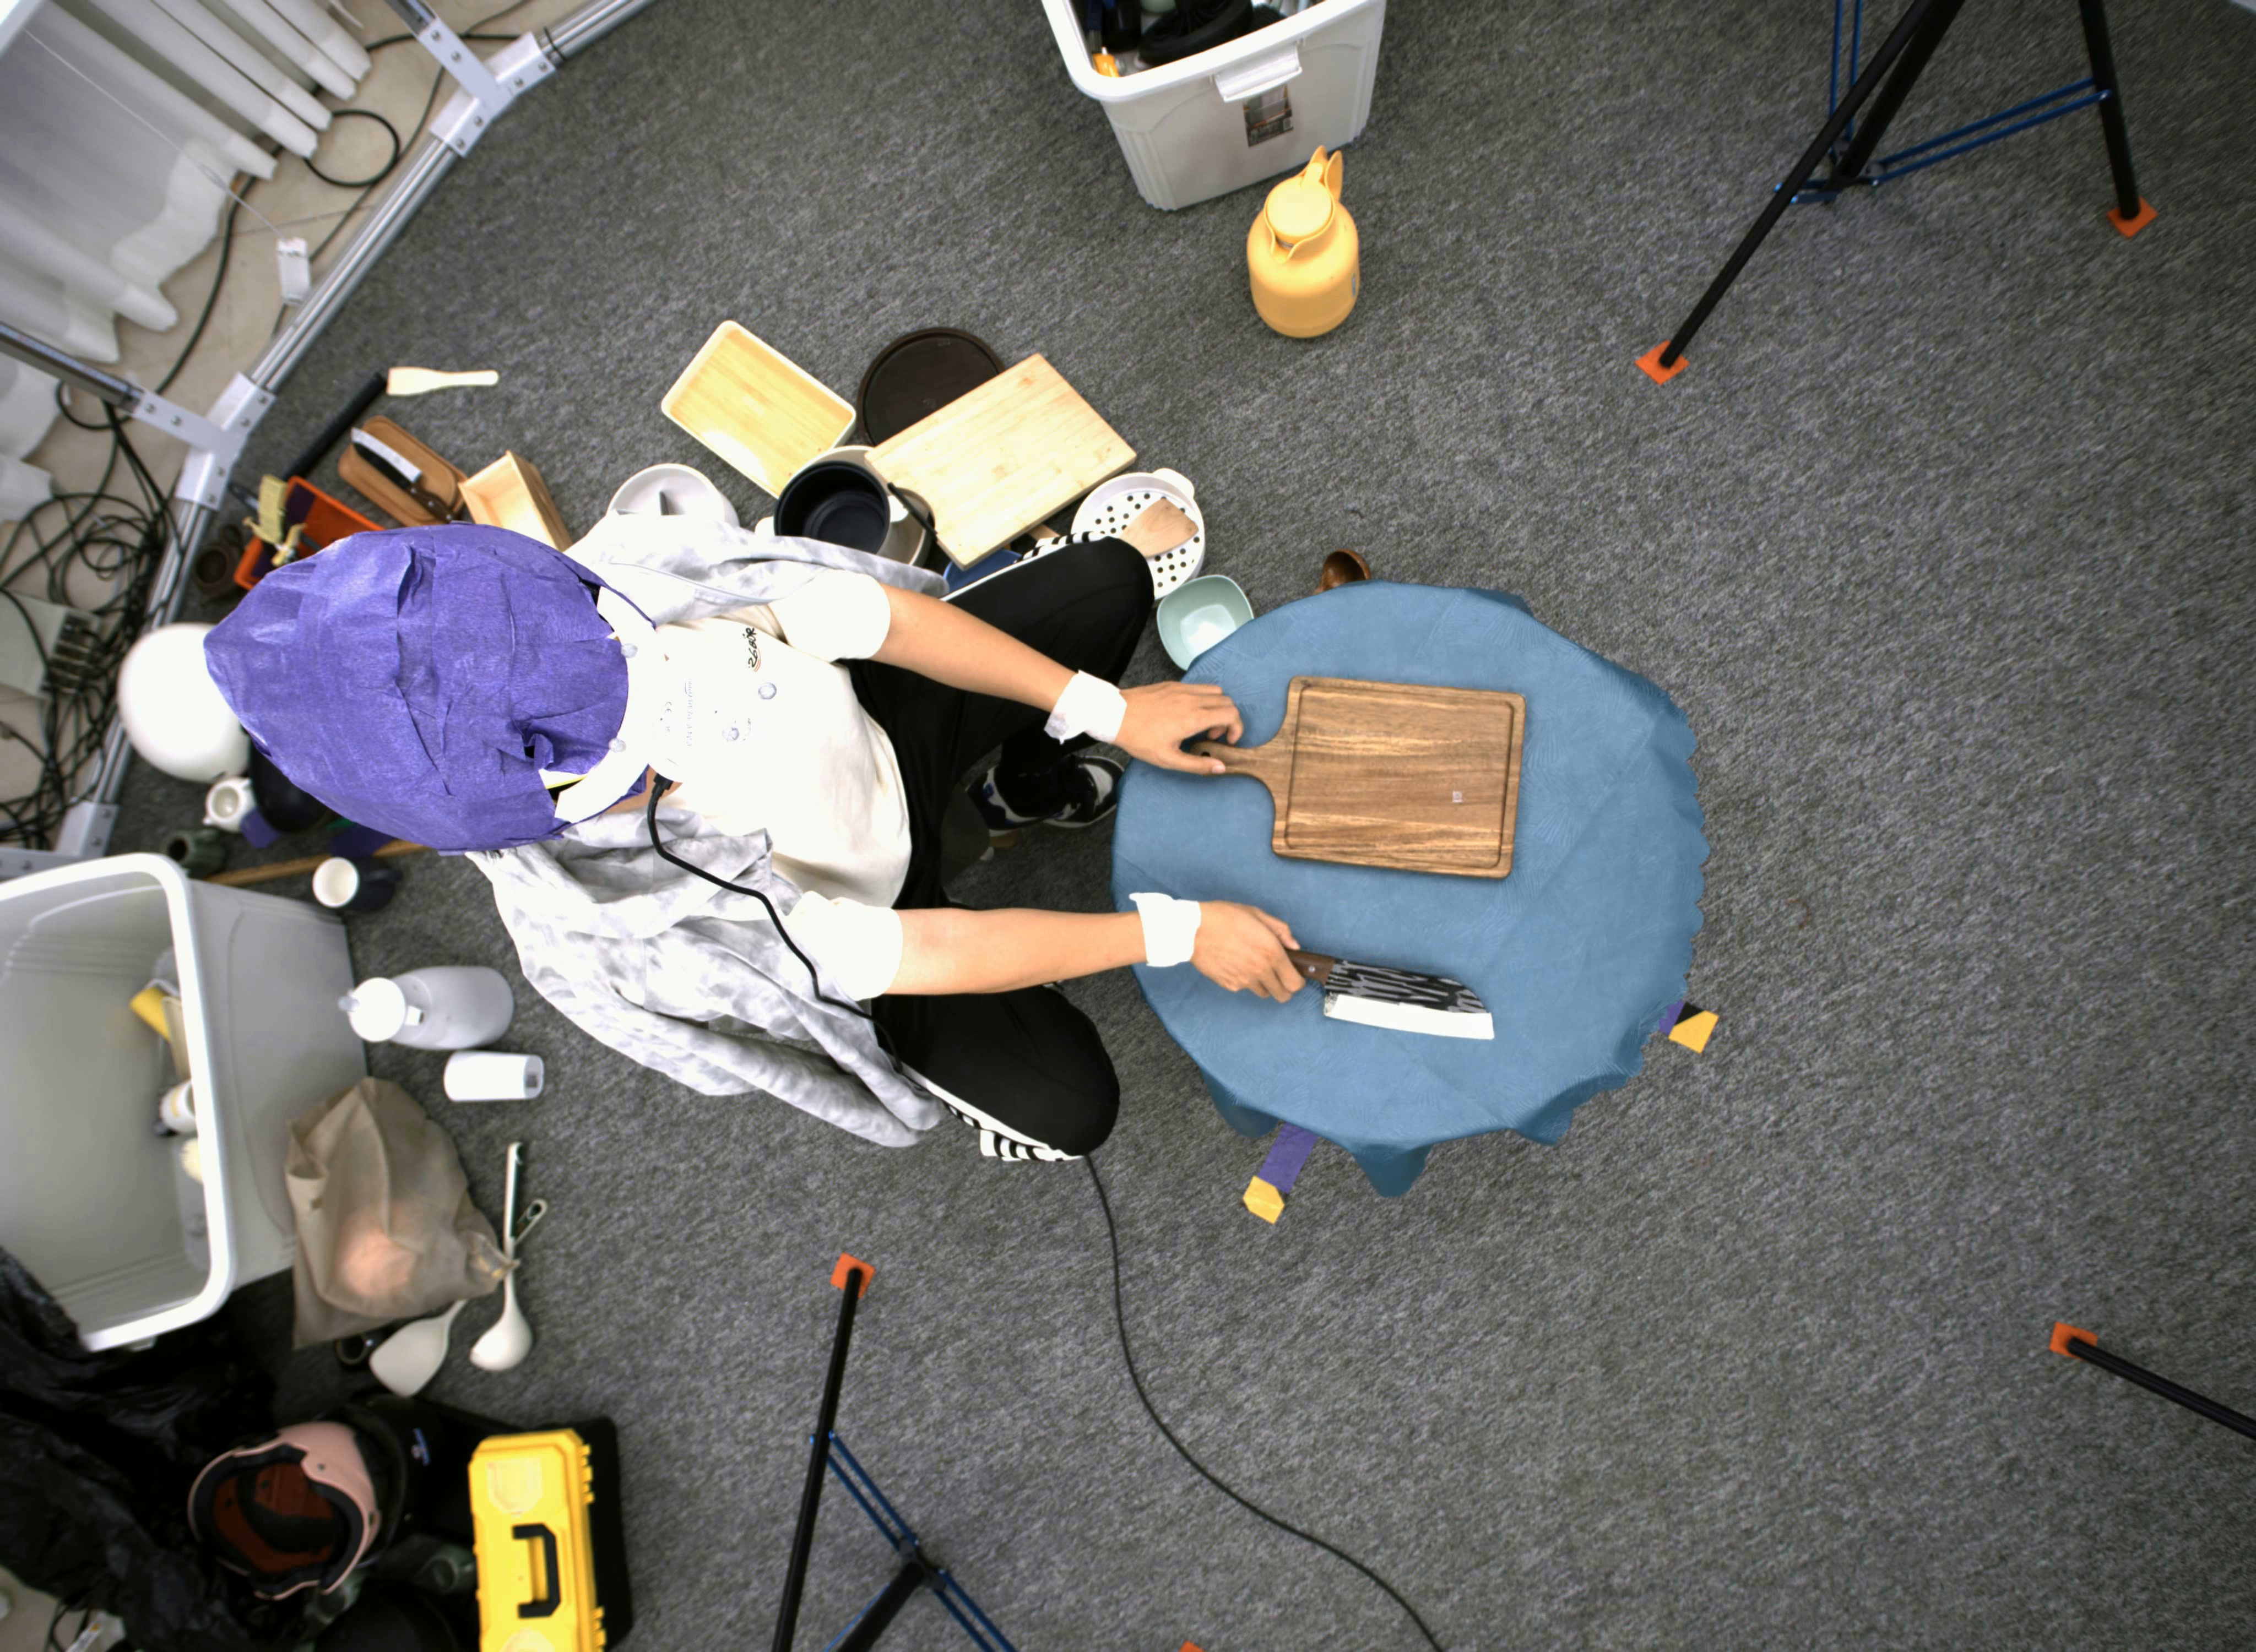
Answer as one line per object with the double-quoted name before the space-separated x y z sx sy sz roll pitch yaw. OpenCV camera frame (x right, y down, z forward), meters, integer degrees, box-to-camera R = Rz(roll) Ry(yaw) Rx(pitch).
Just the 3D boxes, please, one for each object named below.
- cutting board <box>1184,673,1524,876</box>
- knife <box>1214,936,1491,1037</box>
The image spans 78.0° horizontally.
"cutting board" 0.234 -0.061 1.462 0.353 0.023 0.200 6 88 11
"knife" 0.233 0.167 1.439 0.300 0.023 0.069 11 111 7
